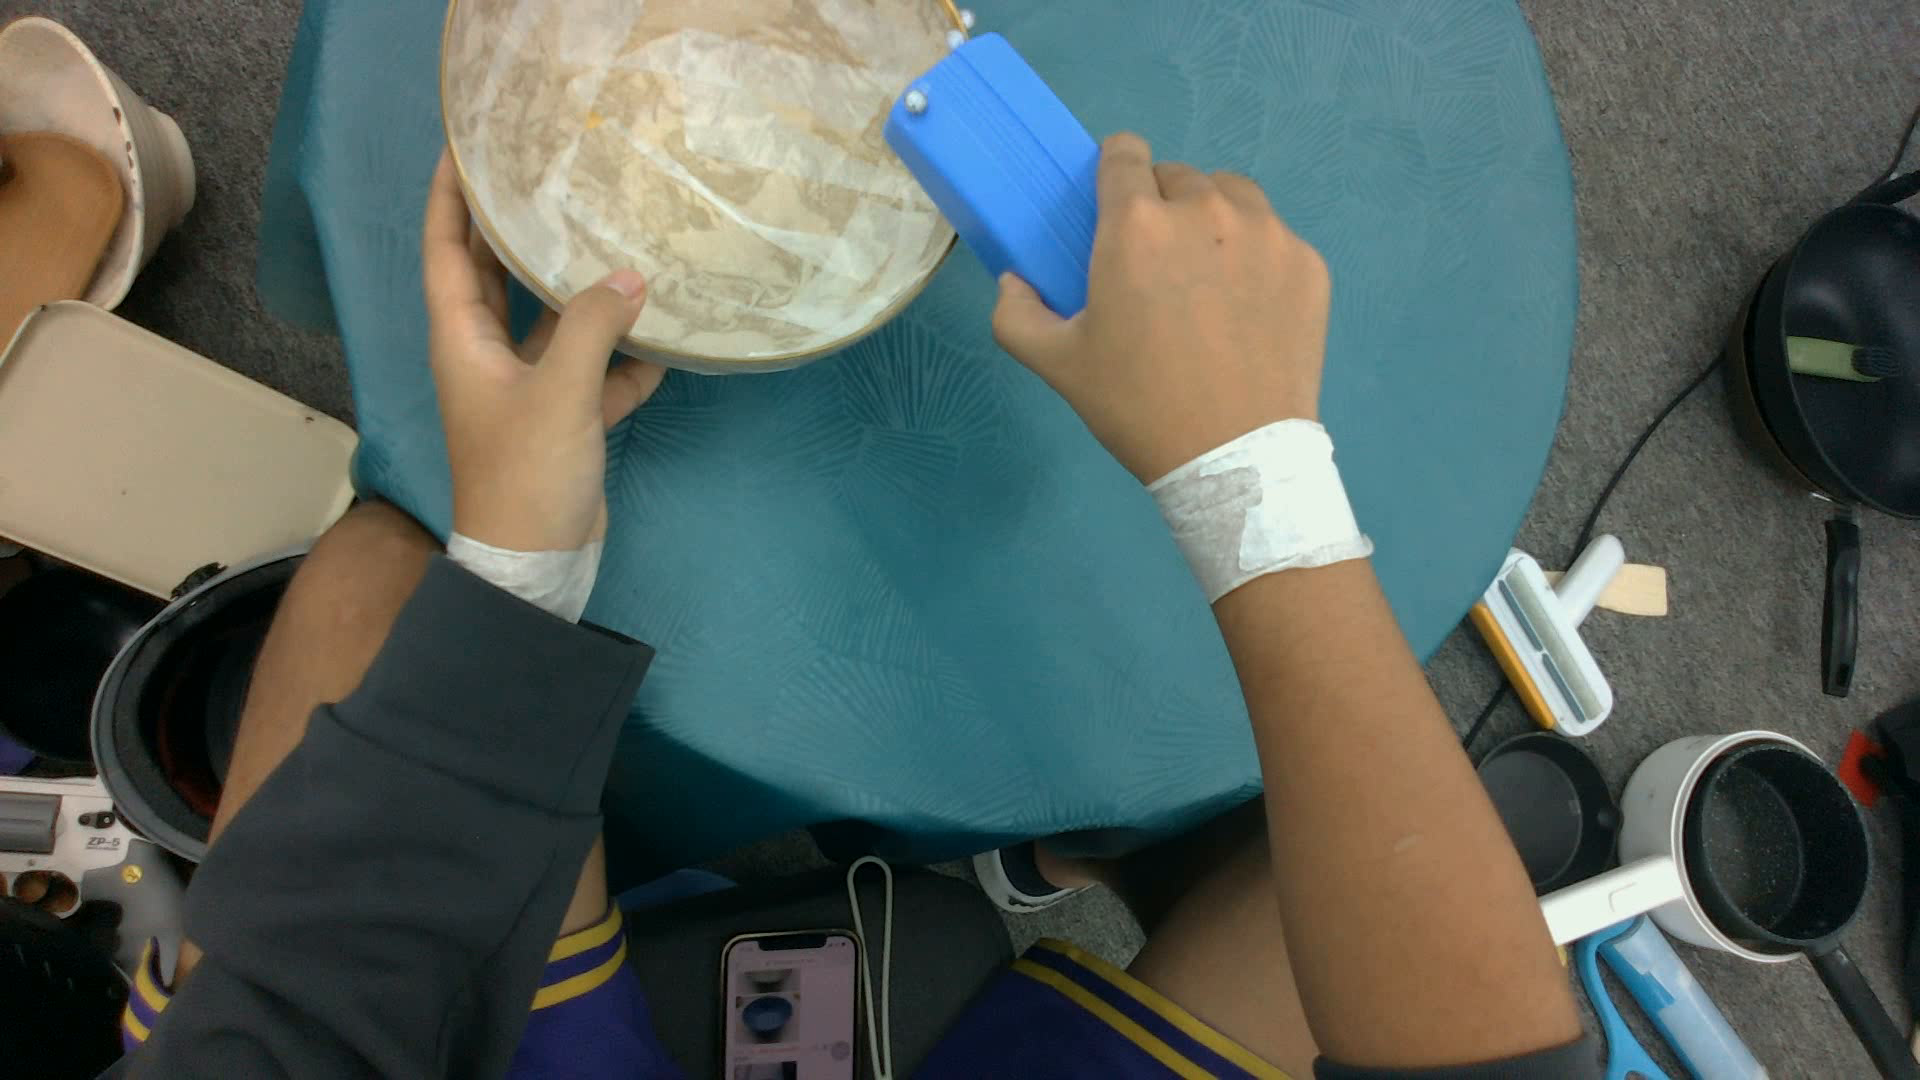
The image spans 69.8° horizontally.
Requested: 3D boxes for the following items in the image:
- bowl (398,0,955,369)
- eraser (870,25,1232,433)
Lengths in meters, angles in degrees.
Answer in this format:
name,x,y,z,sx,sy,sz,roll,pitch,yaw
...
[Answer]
name,x,y,z,sx,sy,sz,roll,pitch,yaw
bowl,-0.106,-0.159,0.549,0.215,0.094,0.215,3,81,-18
eraser,0.036,-0.116,0.515,0.054,0.047,0.162,-41,96,-10
